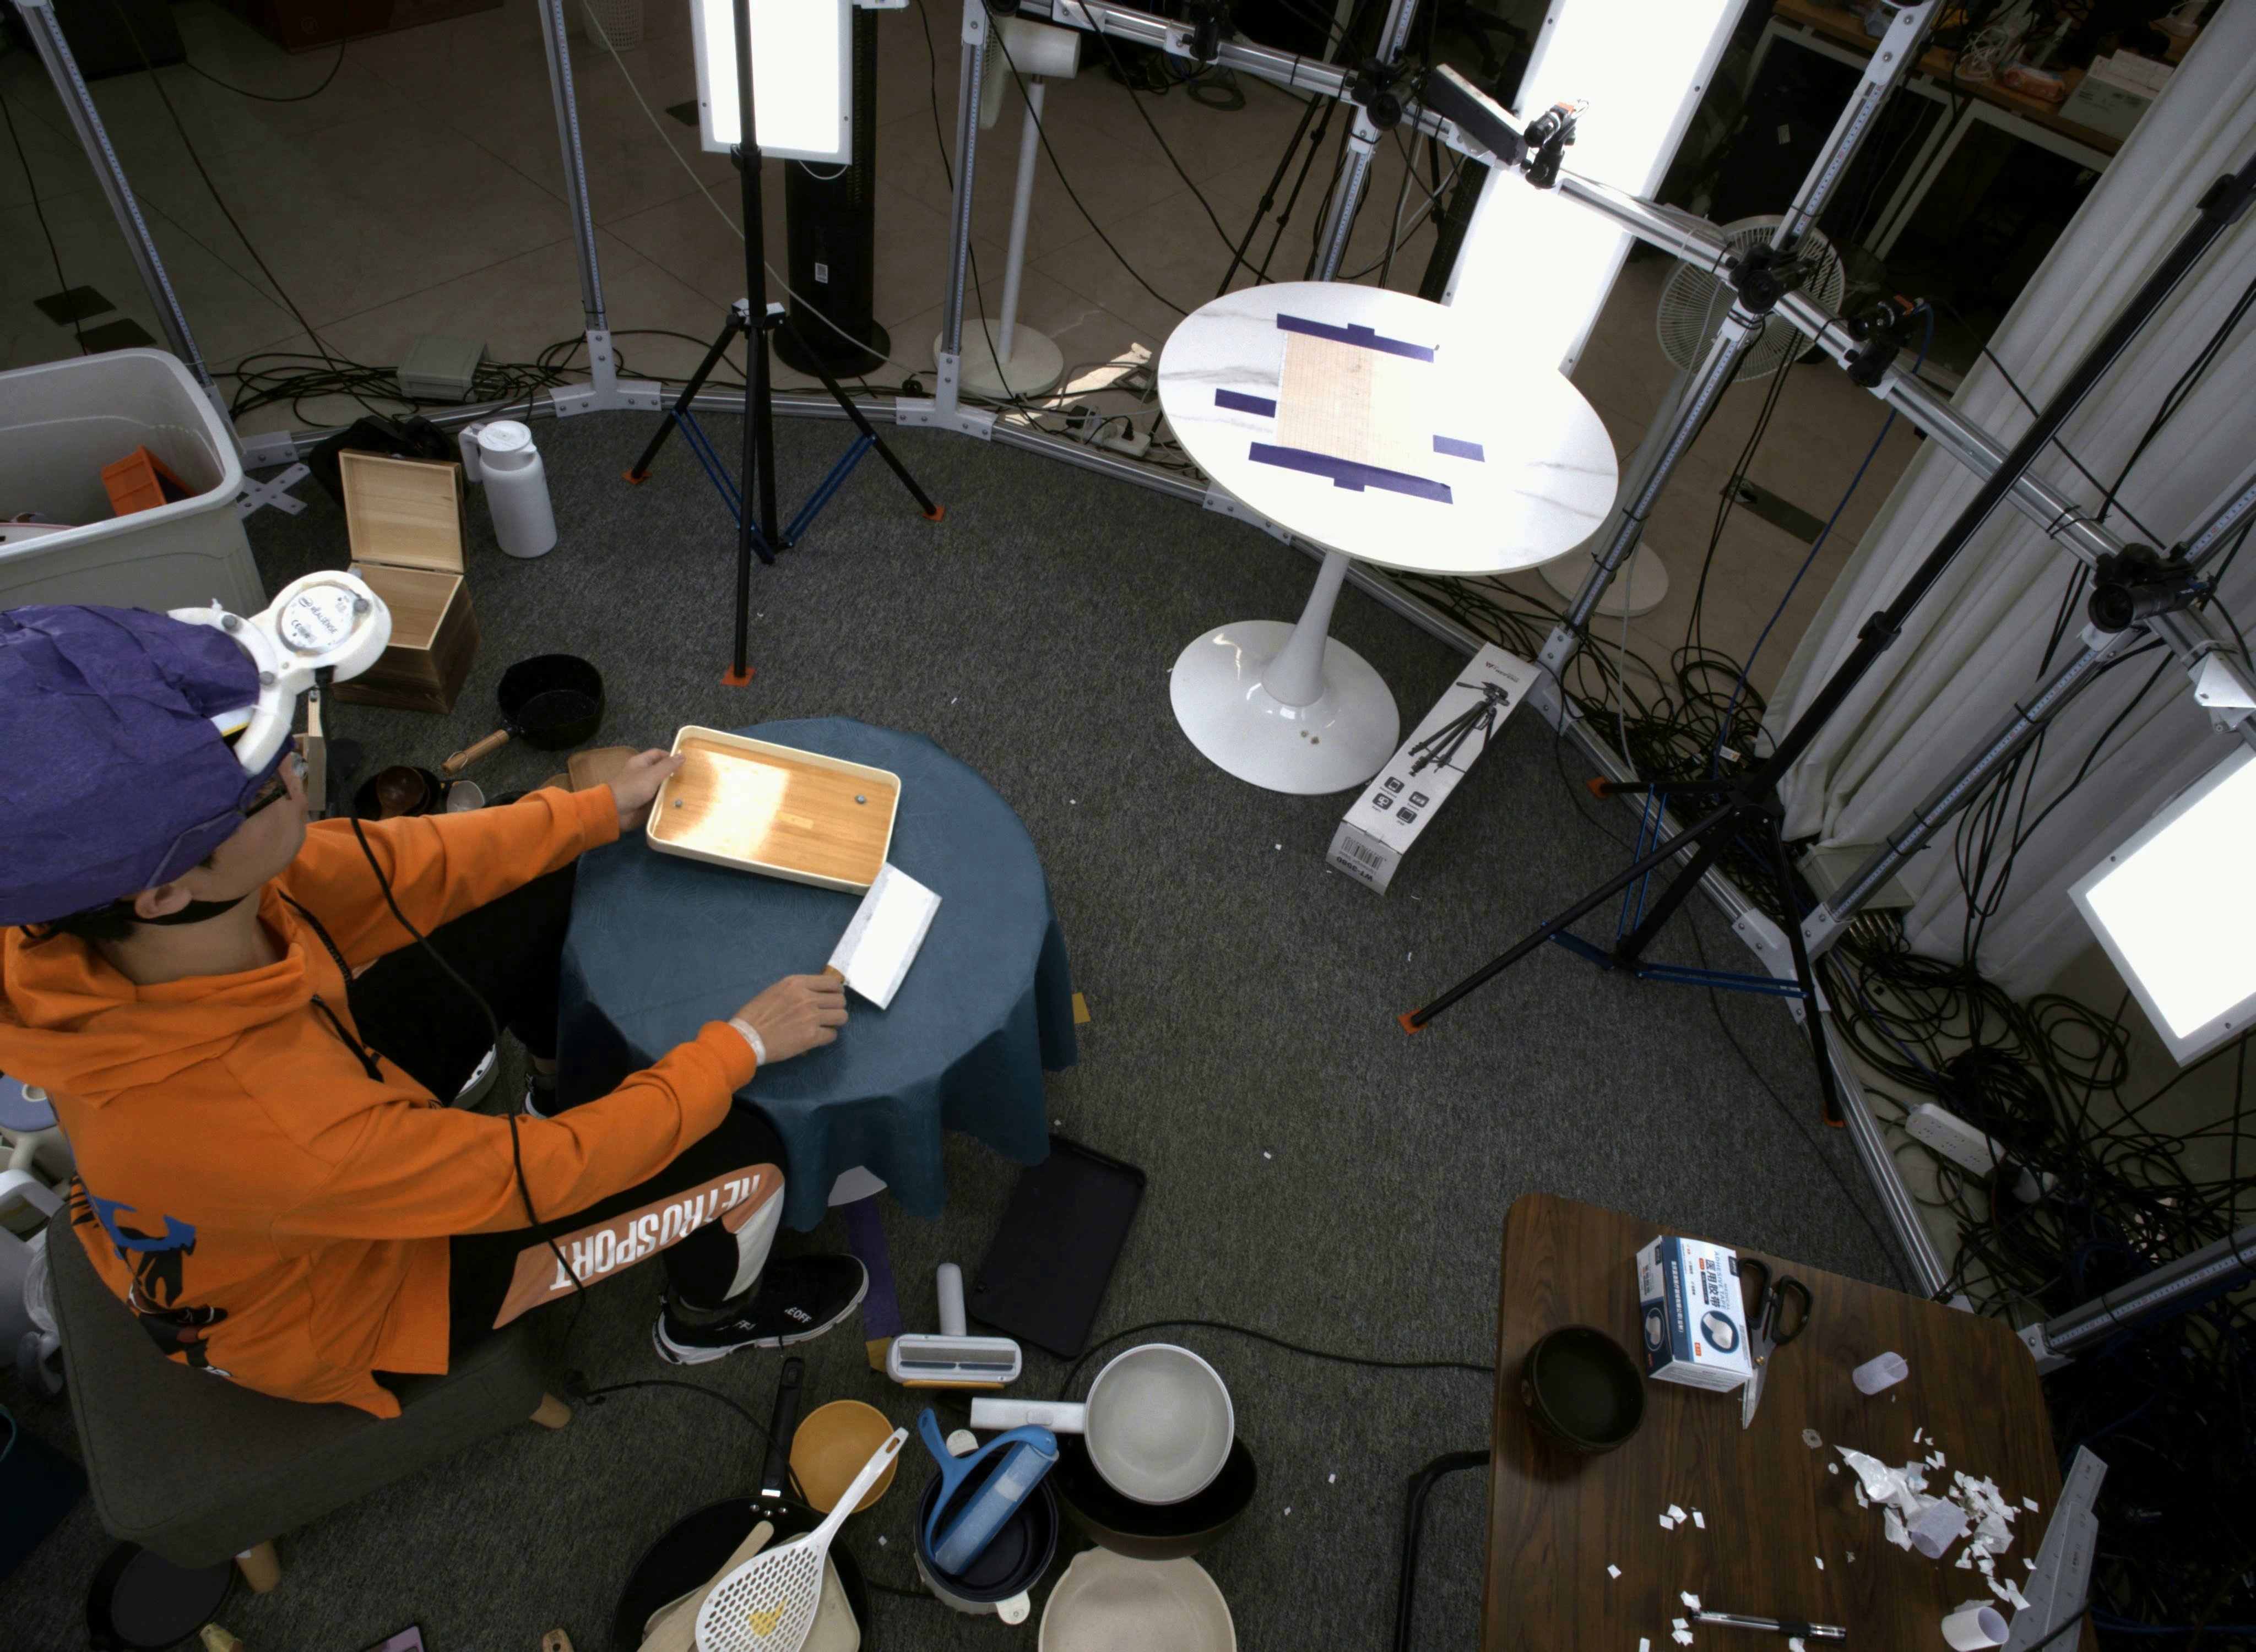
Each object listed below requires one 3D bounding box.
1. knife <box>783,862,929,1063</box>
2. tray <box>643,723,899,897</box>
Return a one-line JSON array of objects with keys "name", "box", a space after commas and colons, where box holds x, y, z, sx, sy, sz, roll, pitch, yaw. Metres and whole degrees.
[{"name": "knife", "box": [-0.319, 0.170, 1.575, 0.095, 0.021, 0.302, 39, 45, -18]}, {"name": "tray", "box": [-0.457, -0.022, 1.675, 0.302, 0.027, 0.188, 14, 53, -15]}]
